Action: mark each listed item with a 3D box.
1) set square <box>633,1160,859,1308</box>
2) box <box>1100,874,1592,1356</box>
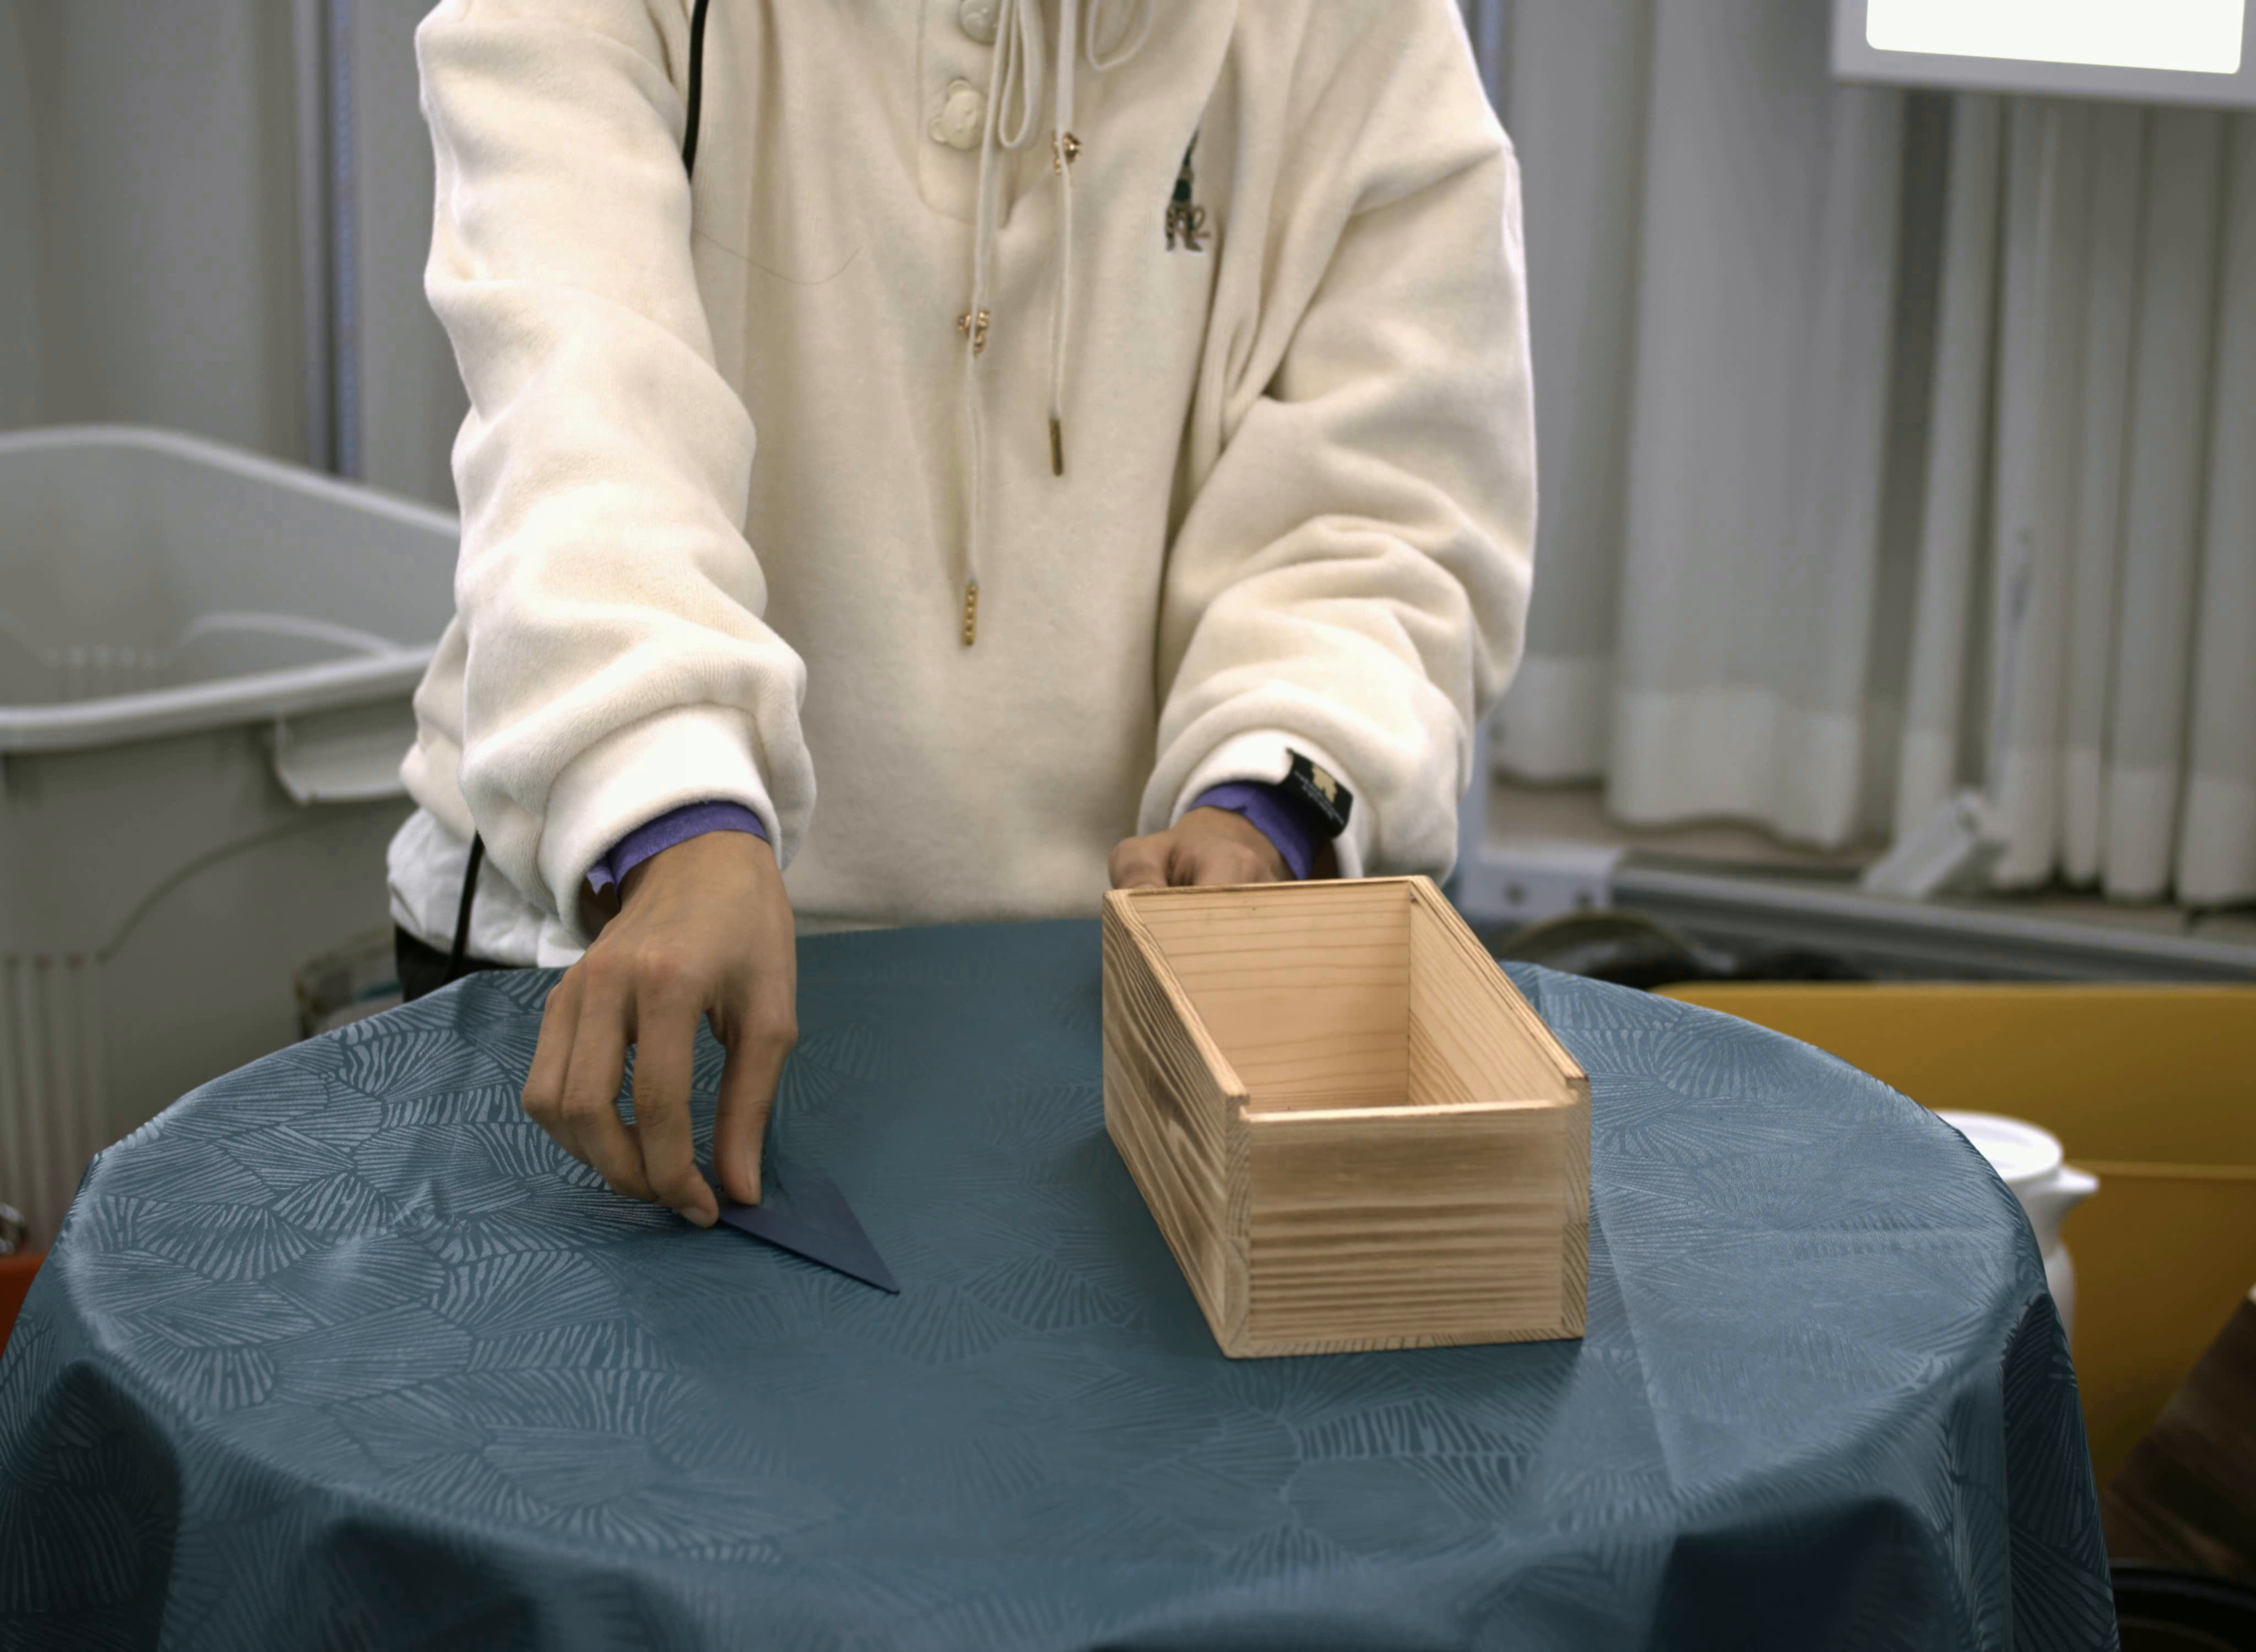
[{"bbox_3d":[-0.115,0.120,1.577,0.061,0.006,0.131,3,15,-11],"label":"set square"},{"bbox_3d":[0.061,0.082,1.581,0.107,0.081,0.209,-2,16,-10],"label":"box"}]
